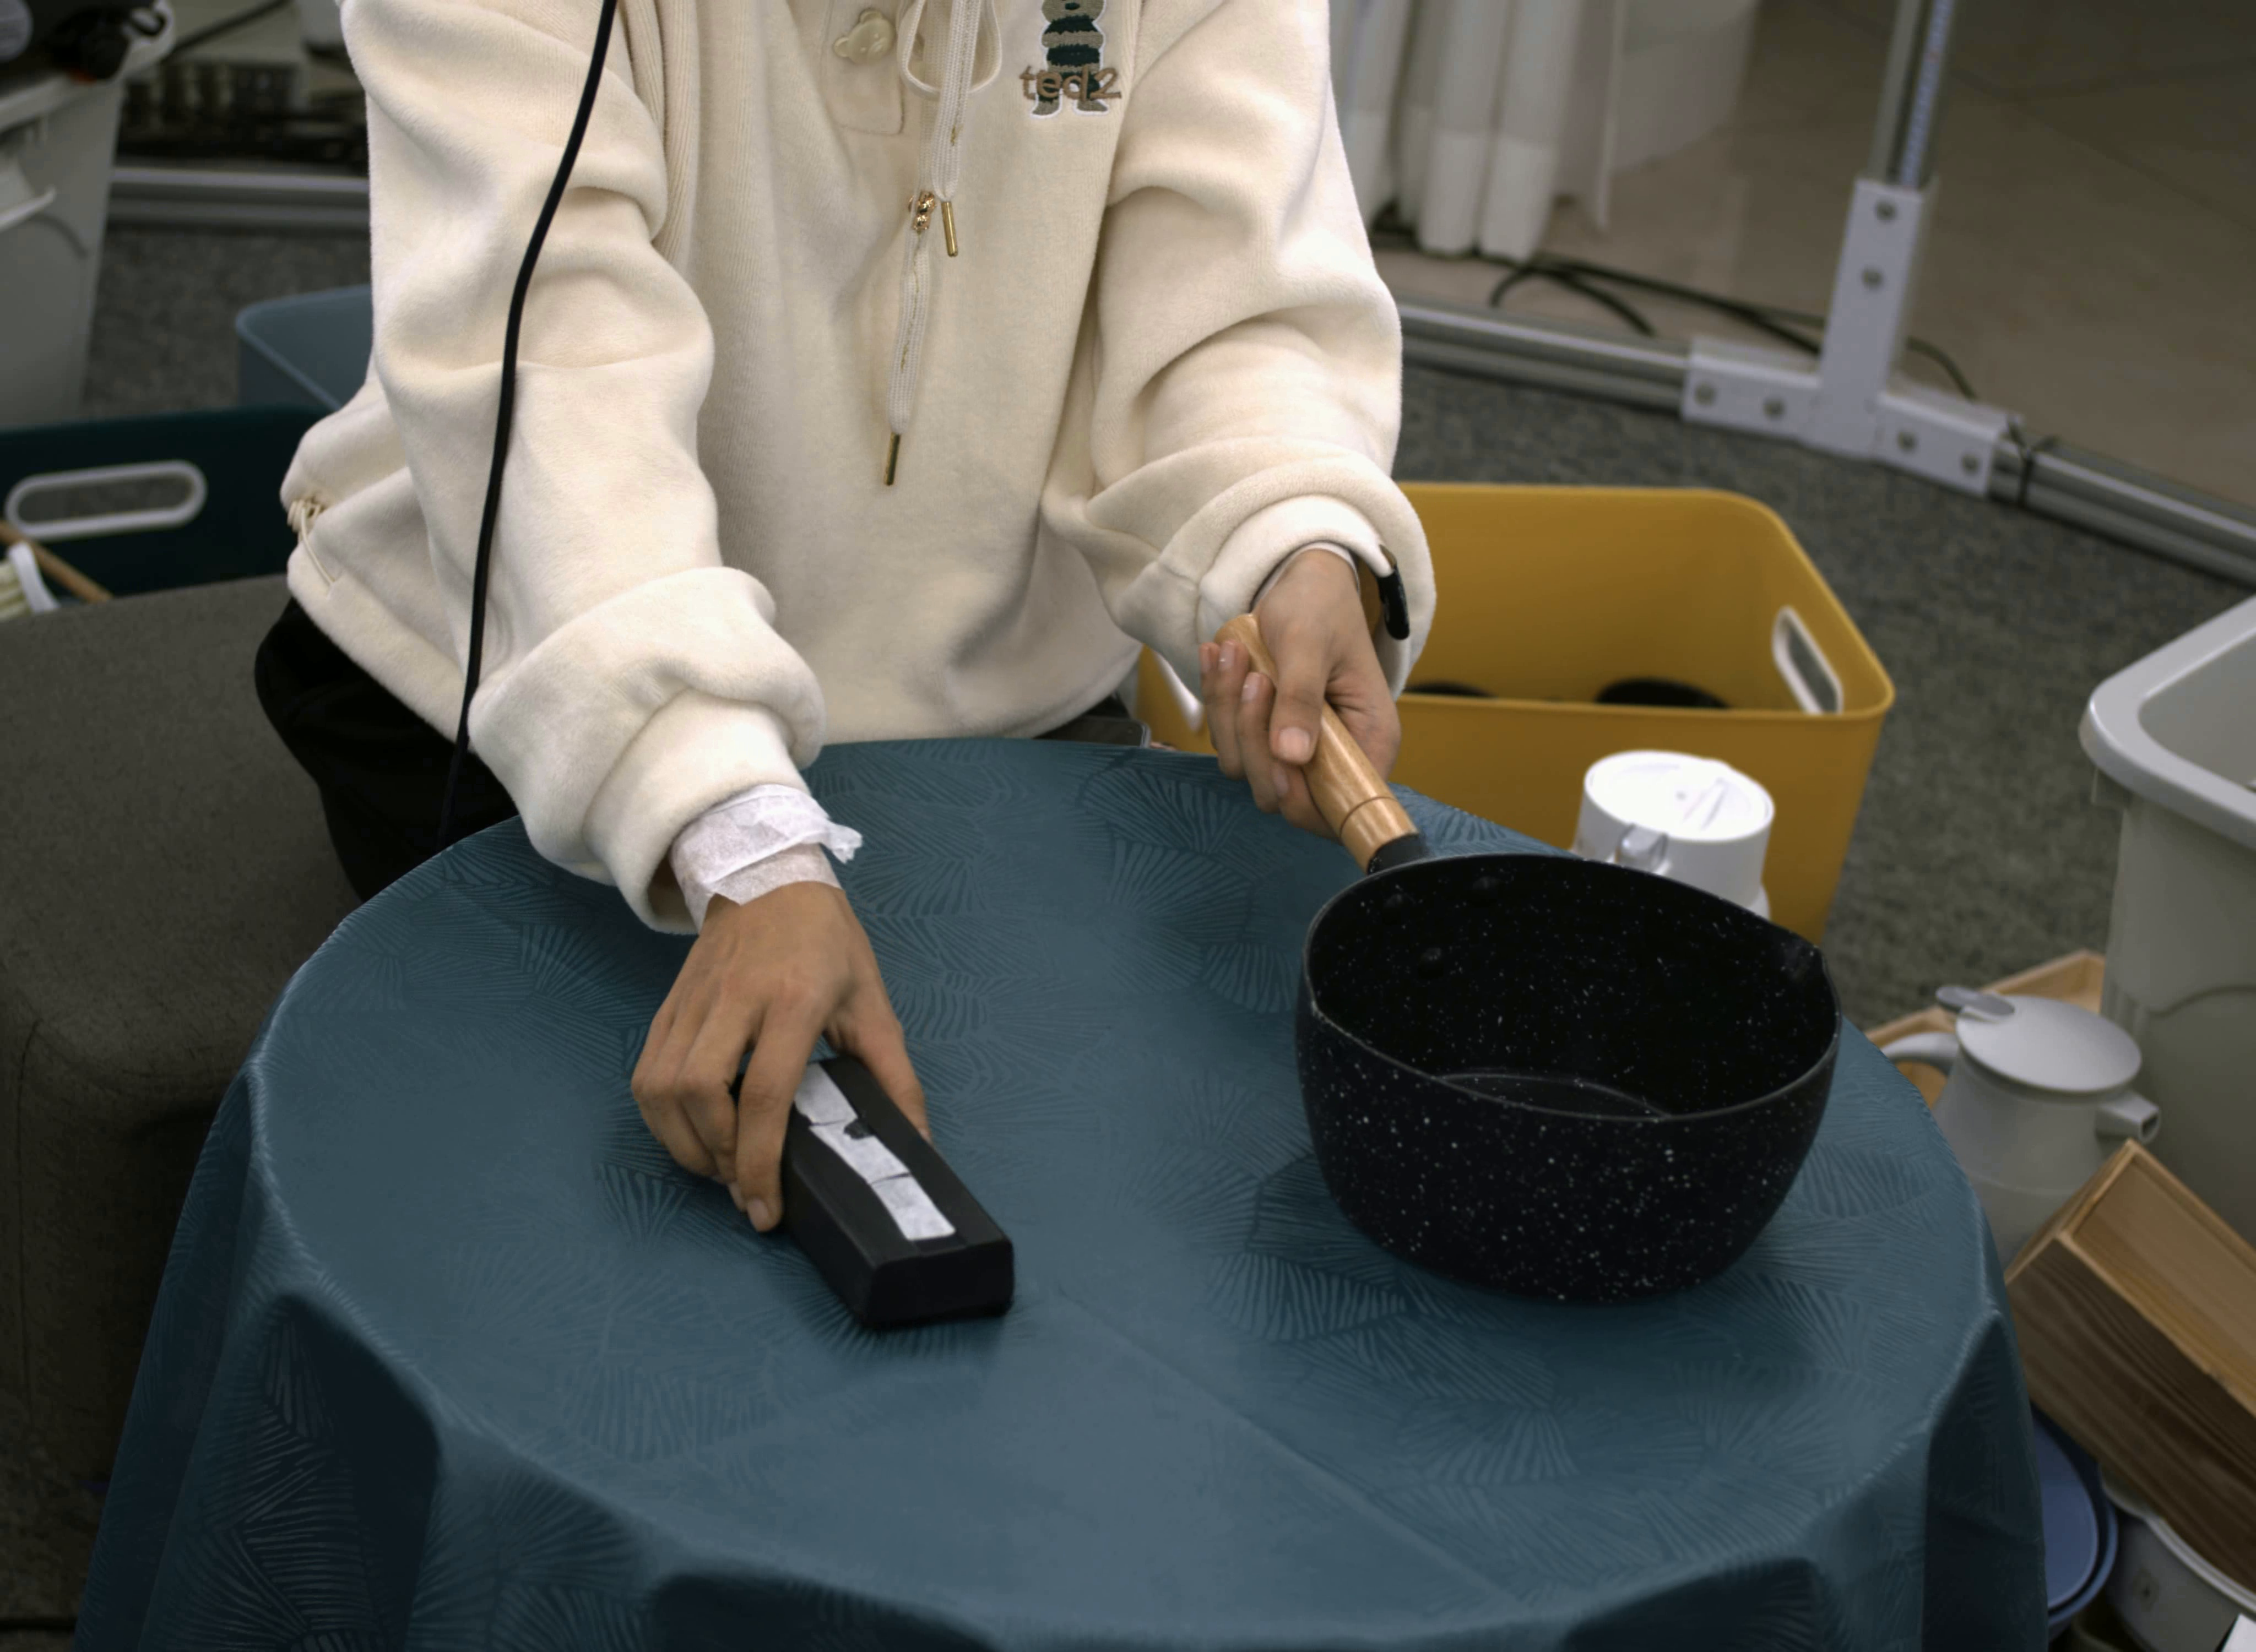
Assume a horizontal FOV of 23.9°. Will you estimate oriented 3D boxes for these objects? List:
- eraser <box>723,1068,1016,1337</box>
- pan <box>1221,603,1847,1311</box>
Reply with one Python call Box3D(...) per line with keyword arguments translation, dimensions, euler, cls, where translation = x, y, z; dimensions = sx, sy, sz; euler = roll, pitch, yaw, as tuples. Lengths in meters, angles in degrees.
Box3D(translation=(-0.086, 0.123, 1.752), dimensions=(0.053, 0.030, 0.126), euler=(-7, 30, -26), cls="eraser")
Box3D(translation=(0.111, 0.043, 1.866), dimensions=(0.206, 0.108, 0.346), euler=(-9, 32, -26), cls="pan")
